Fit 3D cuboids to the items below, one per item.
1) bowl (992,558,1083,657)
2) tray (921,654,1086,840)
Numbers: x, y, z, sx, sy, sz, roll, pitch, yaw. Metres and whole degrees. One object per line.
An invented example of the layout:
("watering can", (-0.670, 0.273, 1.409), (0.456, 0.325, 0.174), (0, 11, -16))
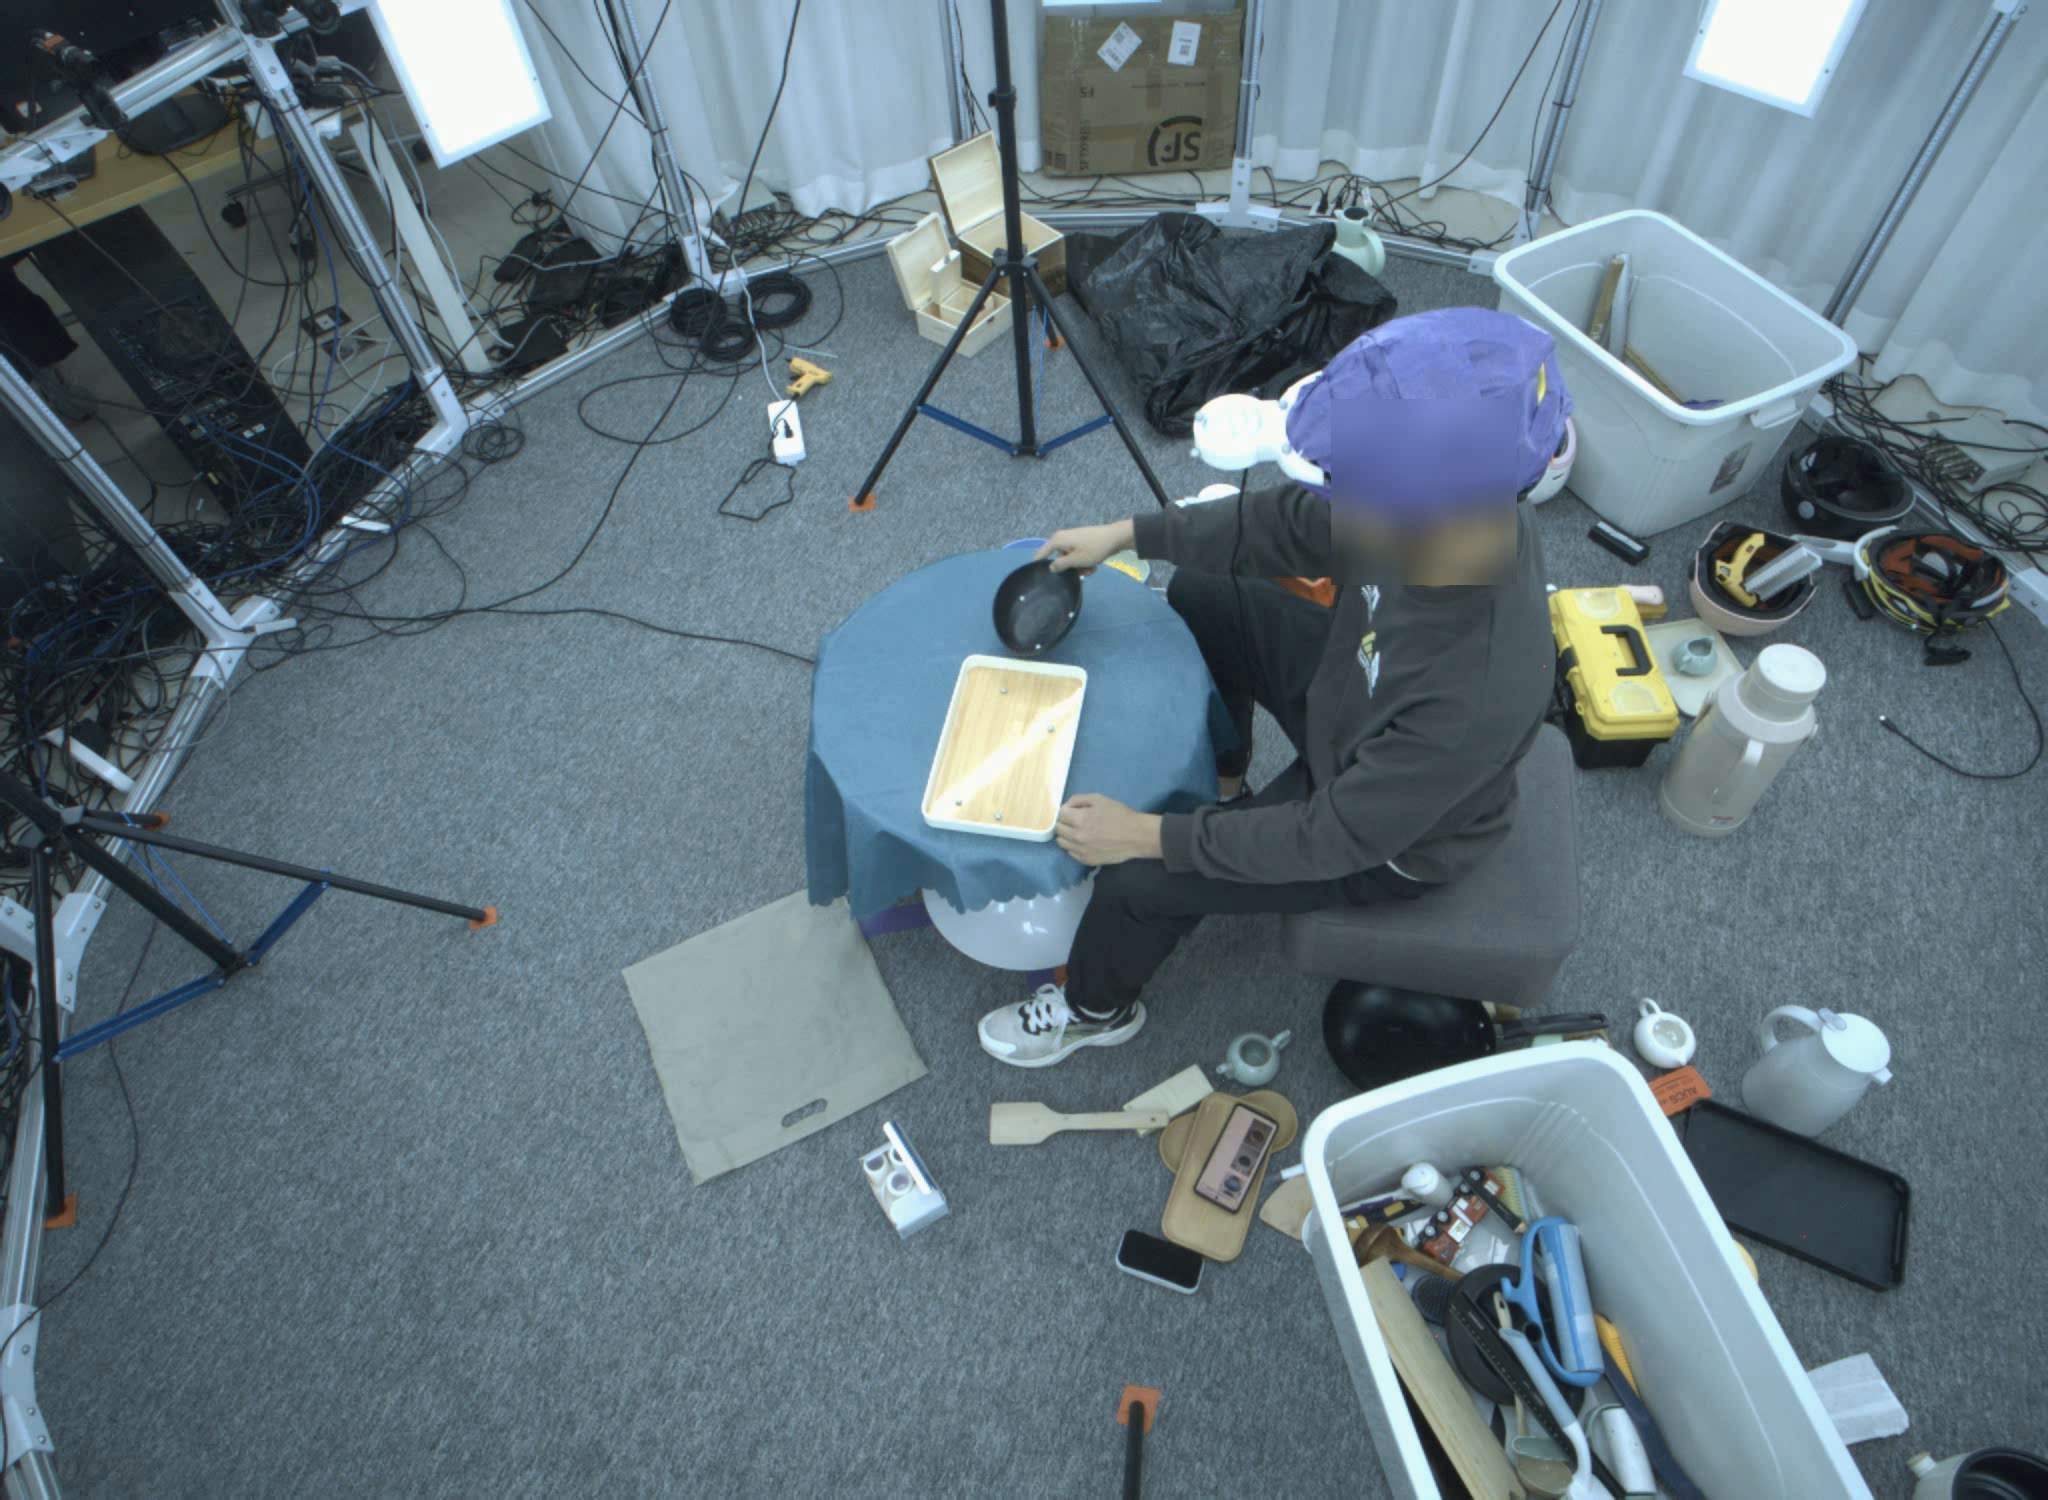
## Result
("bowl", (0.025, -0.206, 1.860), (0.135, 0.068, 0.170), (9, 66, 20))
("tray", (-0.025, -0.010, 1.777), (0.190, 0.028, 0.298), (8, 55, 7))
